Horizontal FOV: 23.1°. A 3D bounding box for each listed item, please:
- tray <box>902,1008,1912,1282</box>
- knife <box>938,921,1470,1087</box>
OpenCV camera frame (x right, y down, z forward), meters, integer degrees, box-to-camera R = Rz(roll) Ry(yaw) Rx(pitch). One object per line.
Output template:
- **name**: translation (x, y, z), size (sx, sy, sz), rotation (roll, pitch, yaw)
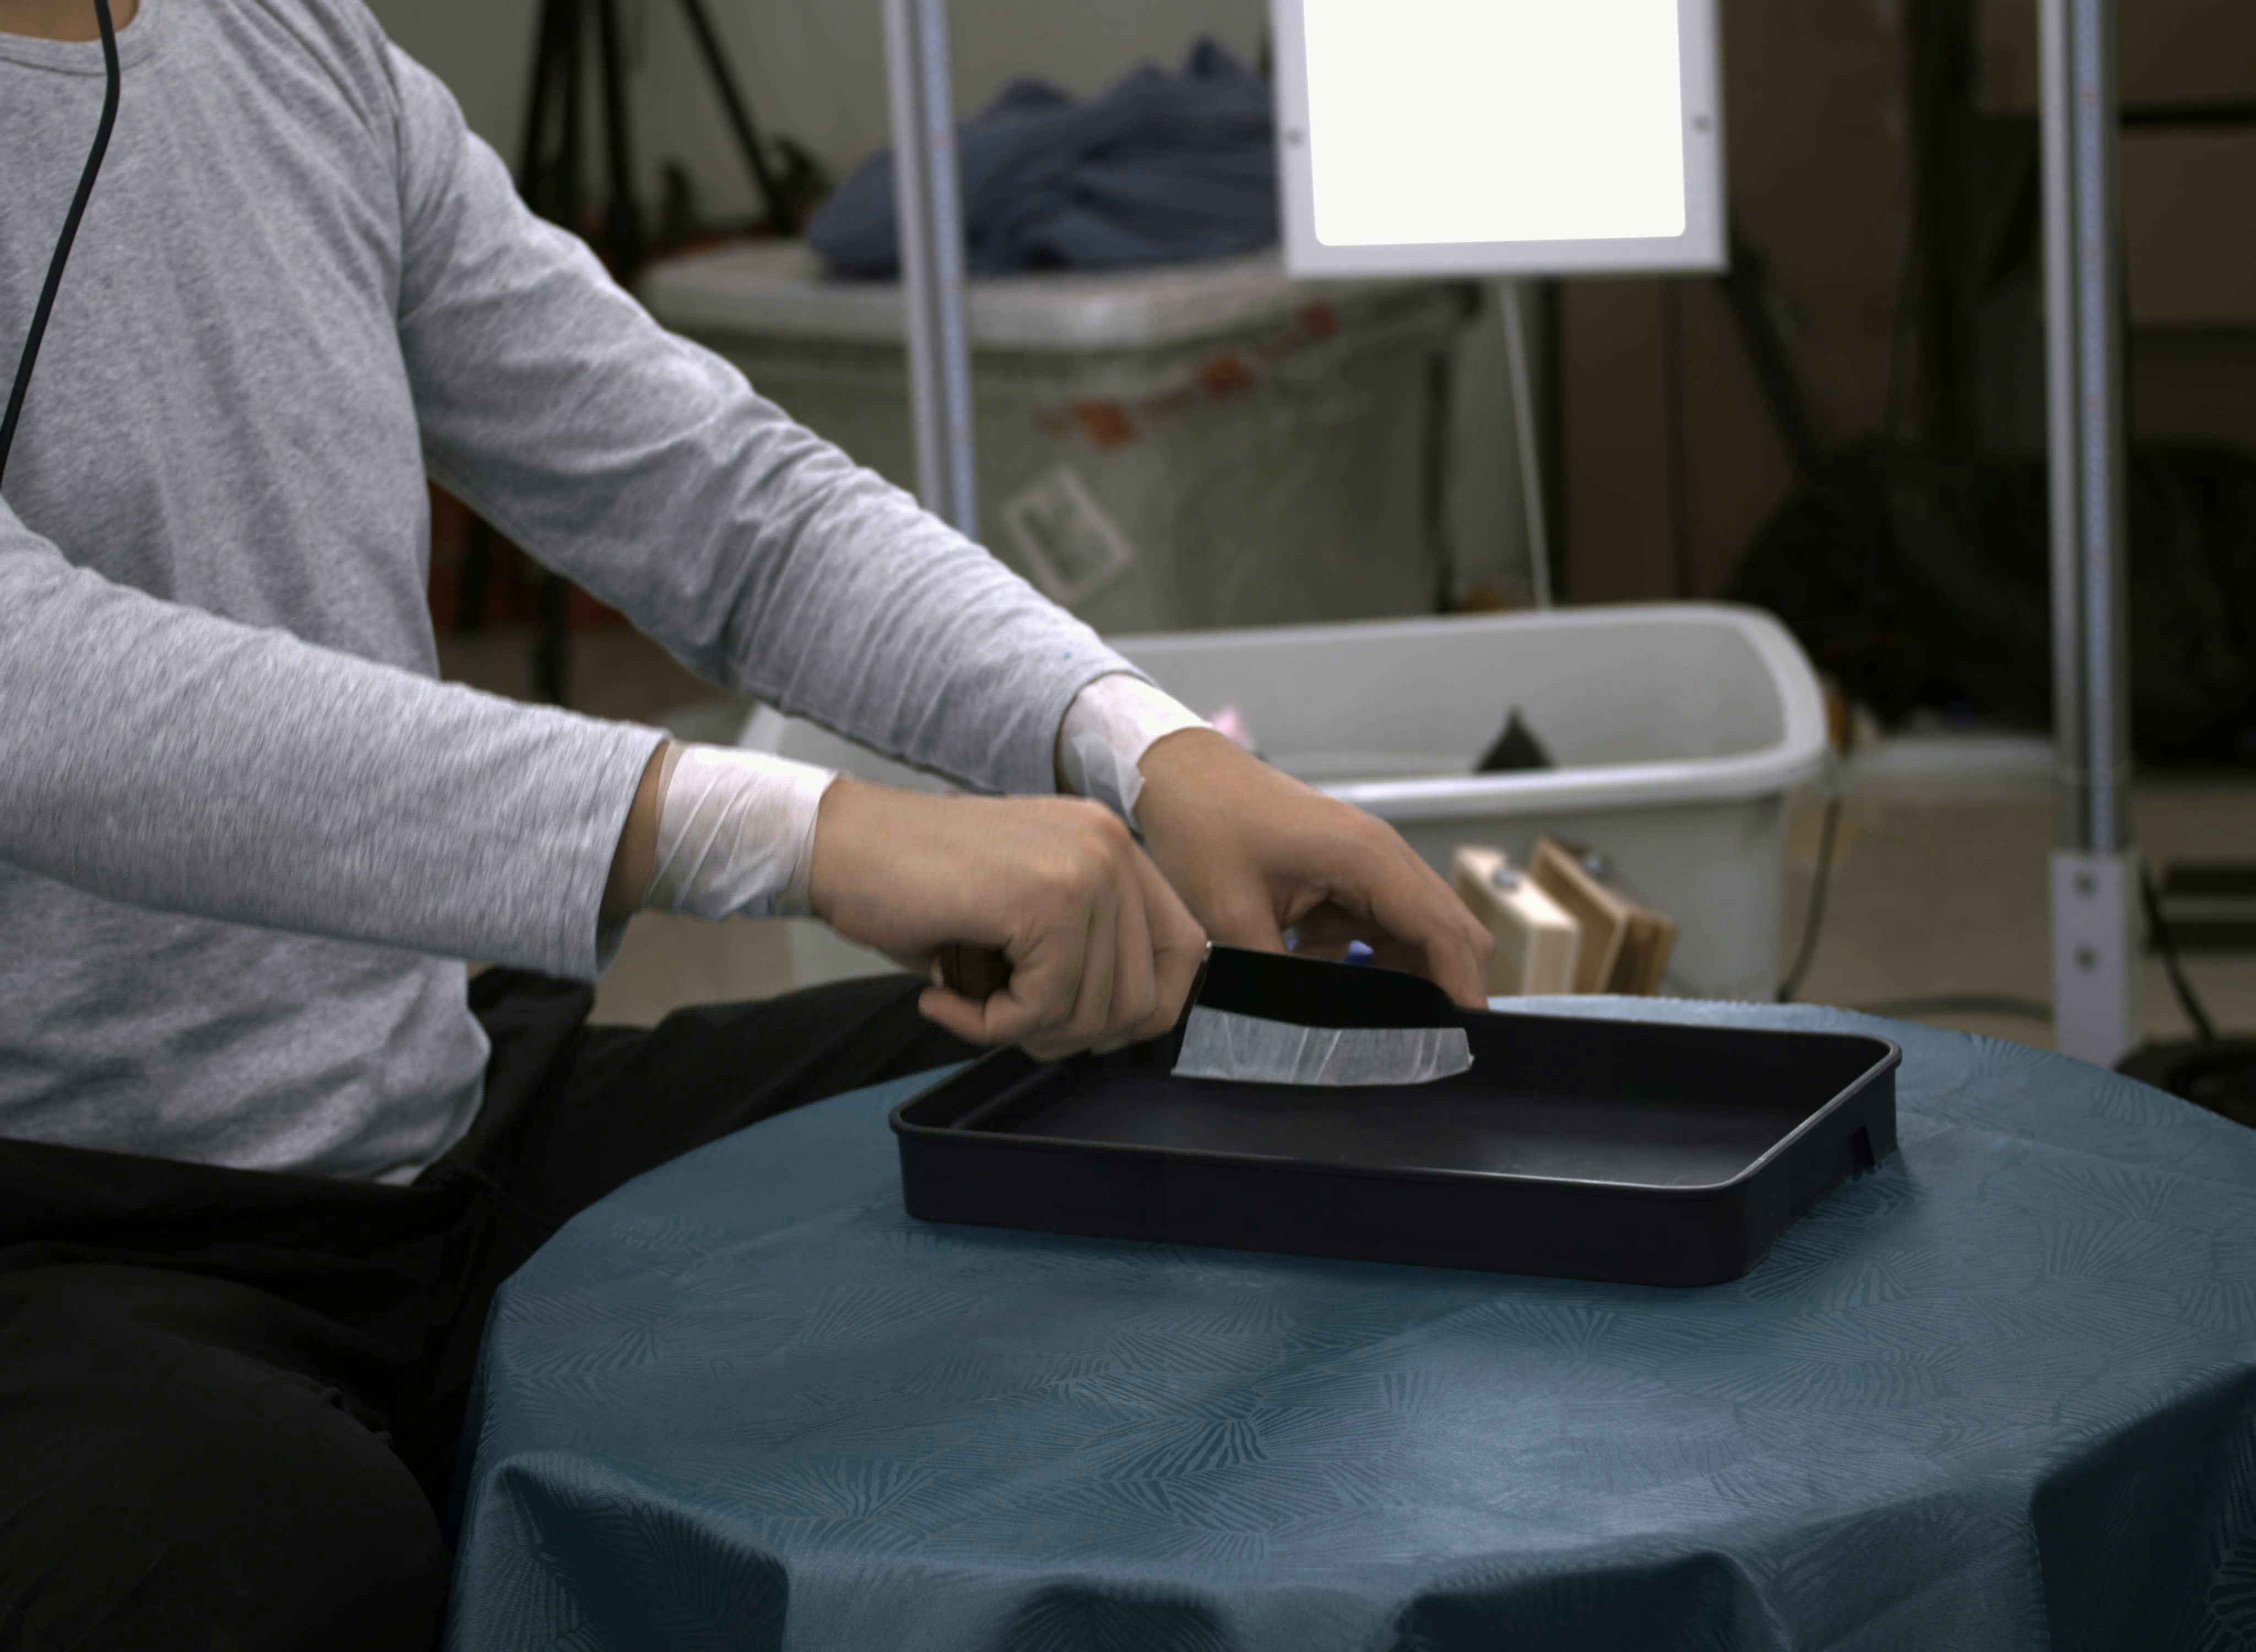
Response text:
- **tray**: translation (0.097, 0.104, 1.887), size (0.323, 0.037, 0.180), rotation (2, 15, 28)
- **knife**: translation (0.033, 0.060, 1.804), size (0.020, 0.050, 0.282), rotation (18, 4, 39)
